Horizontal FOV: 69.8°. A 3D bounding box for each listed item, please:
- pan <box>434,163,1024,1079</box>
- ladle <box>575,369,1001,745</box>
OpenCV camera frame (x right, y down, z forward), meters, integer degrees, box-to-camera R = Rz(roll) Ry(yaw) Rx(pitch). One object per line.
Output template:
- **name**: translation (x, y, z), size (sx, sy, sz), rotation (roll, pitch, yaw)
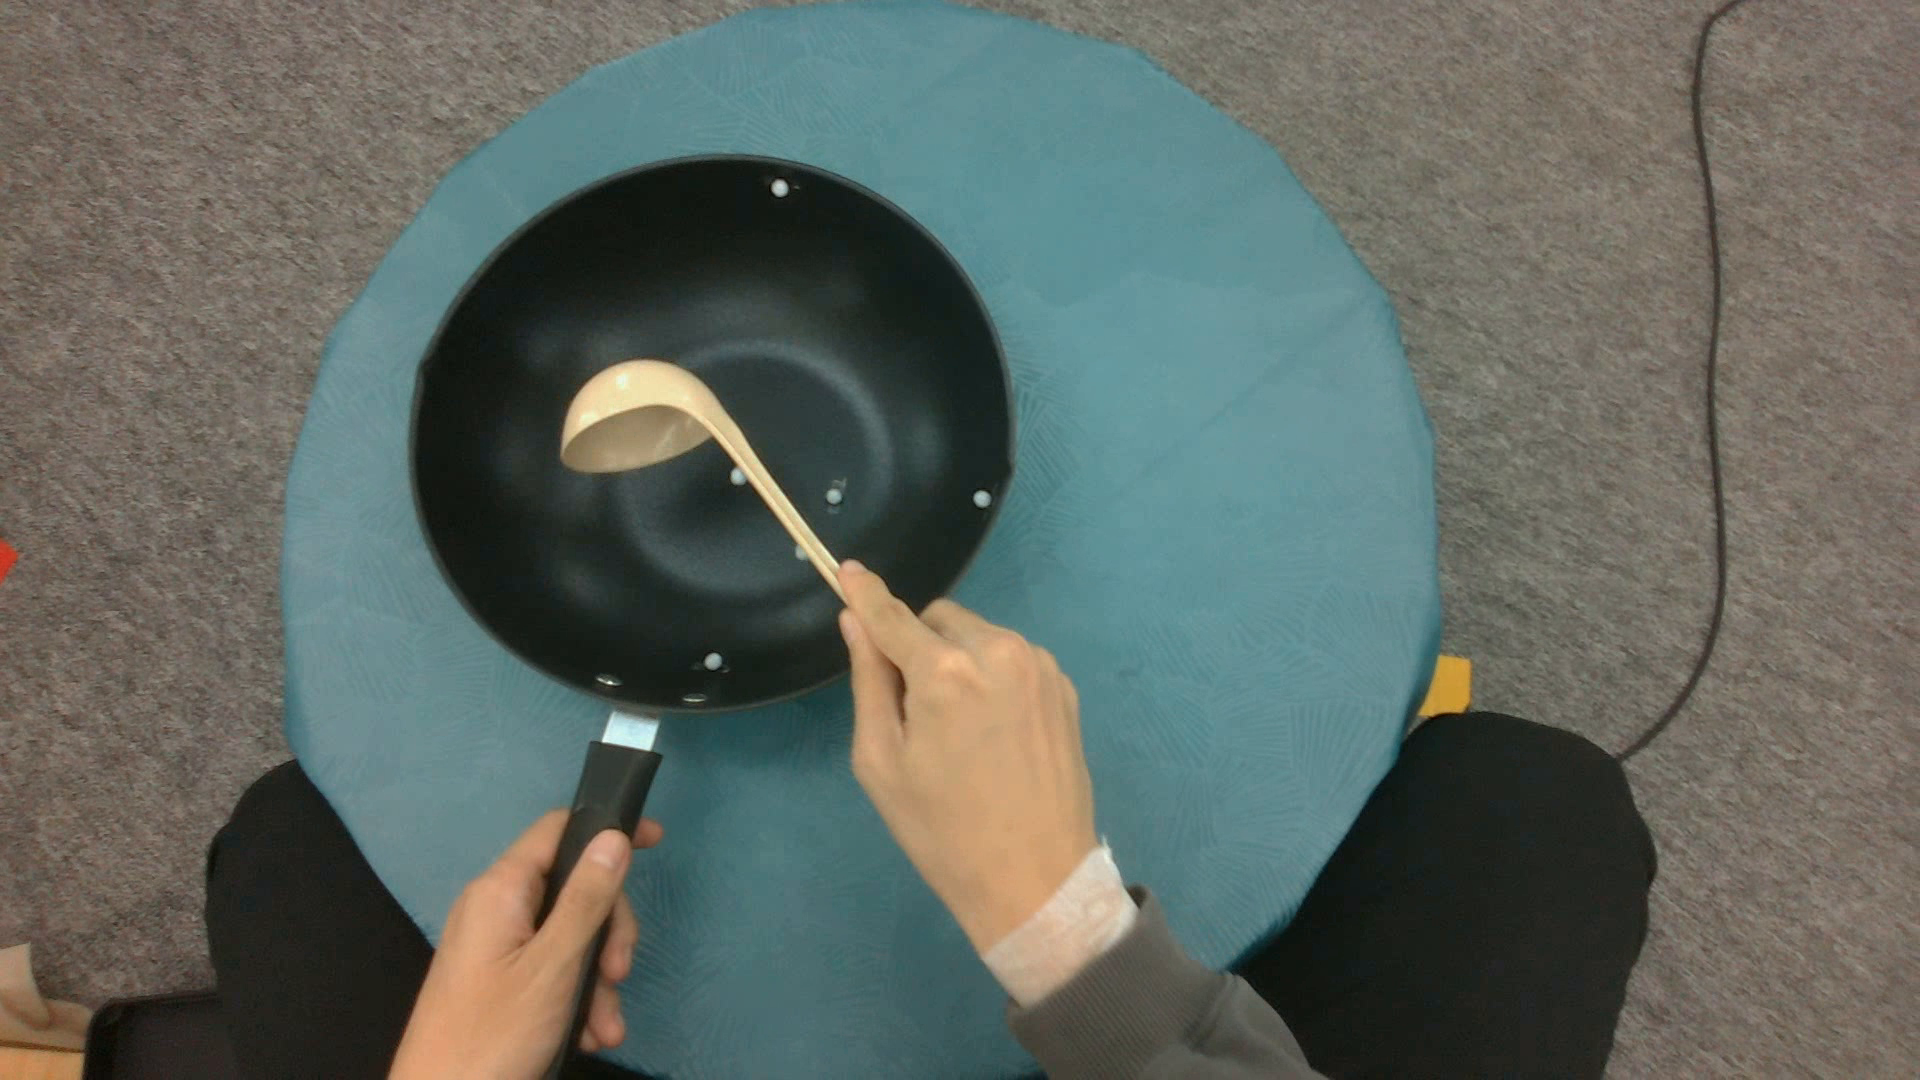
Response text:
- **pan**: translation (-0.130, 0.042, 0.672), size (0.288, 0.086, 0.464), rotation (11, 76, 4)
- **ladle**: translation (-0.083, 0.020, 0.602), size (0.072, 0.072, 0.255), rotation (-48, 63, 13)
